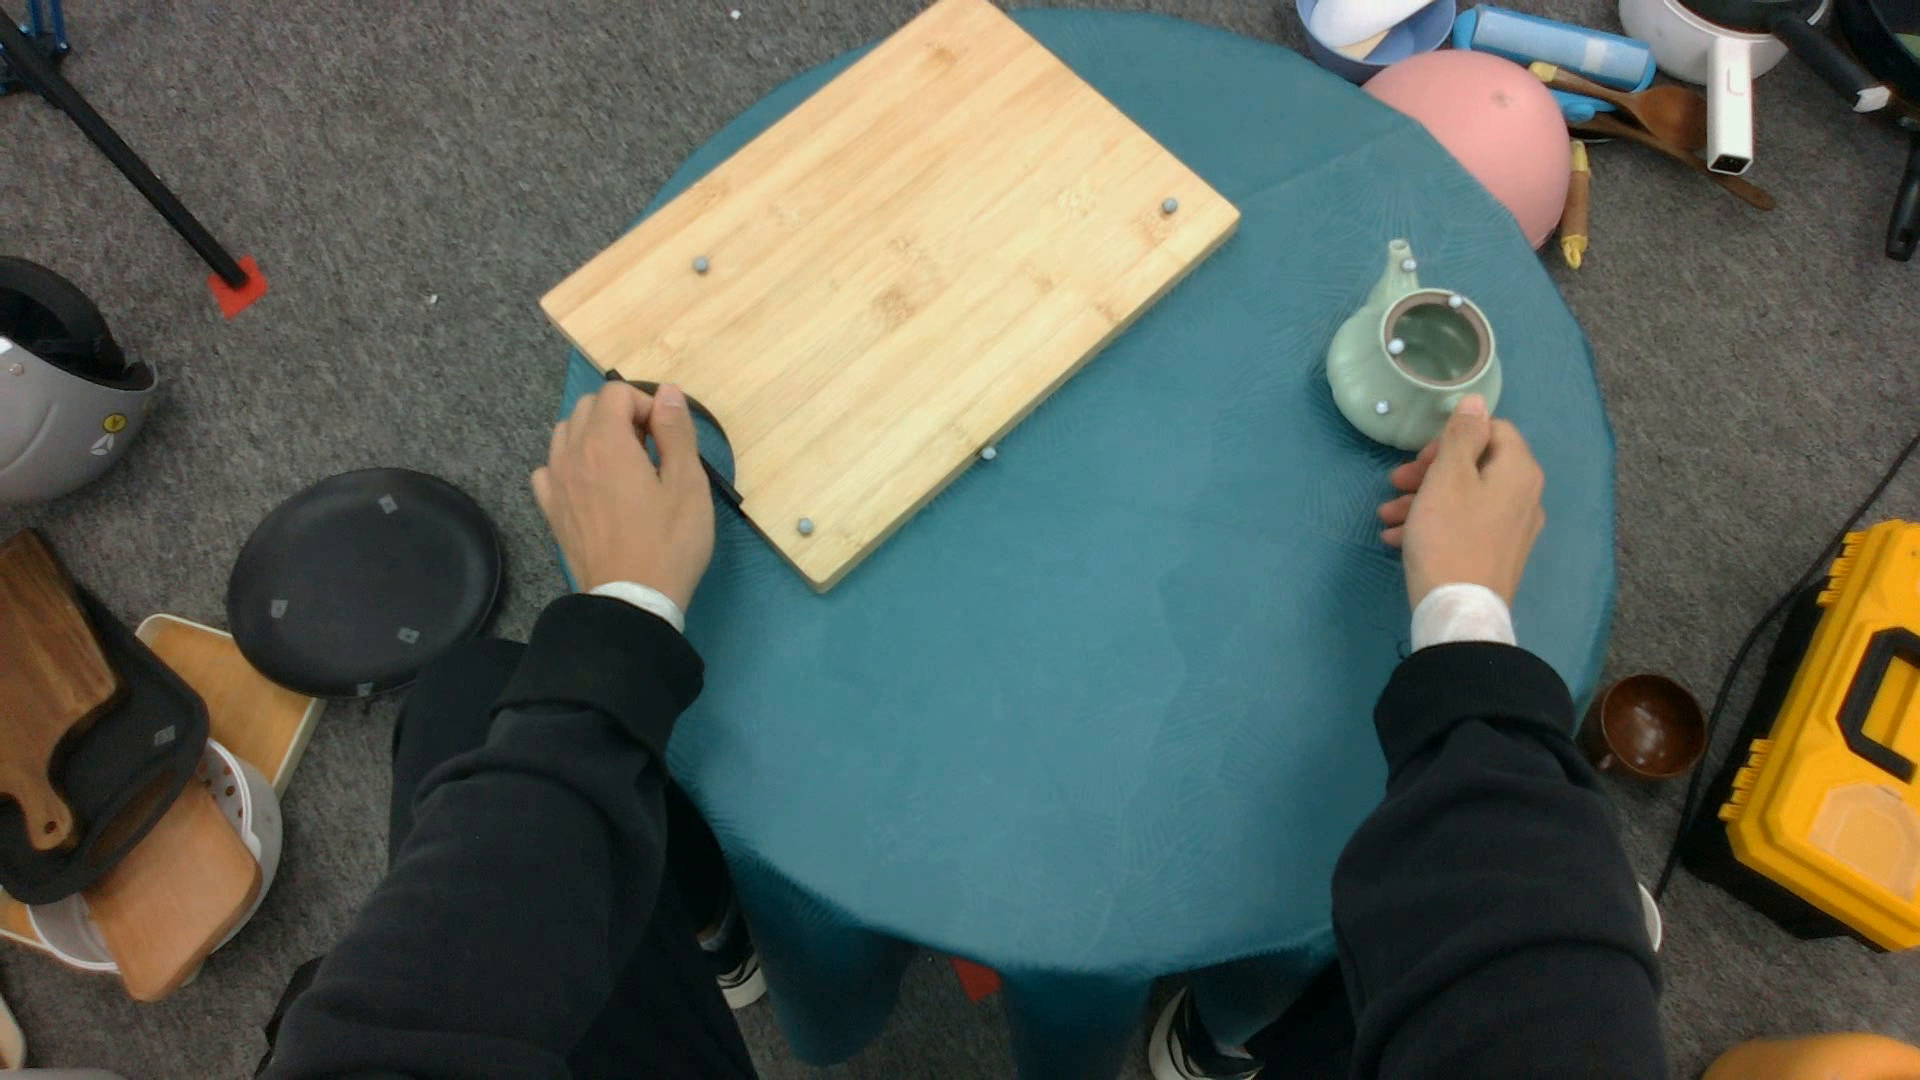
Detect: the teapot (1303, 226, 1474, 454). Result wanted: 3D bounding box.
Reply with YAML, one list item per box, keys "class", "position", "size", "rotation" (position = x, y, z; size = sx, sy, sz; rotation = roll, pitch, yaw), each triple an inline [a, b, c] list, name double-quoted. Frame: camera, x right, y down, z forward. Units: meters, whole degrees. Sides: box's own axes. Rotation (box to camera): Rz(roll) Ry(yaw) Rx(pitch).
- class: "teapot"
  position: [0.246, -0.105, 0.772]
  size: [0.096, 0.061, 0.137]
  rotation: [-15, 69, -9]

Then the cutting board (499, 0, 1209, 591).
- class: "cutting board"
  position: [-0.055, -0.166, 0.809]
  size: [0.251, 0.023, 0.349]
  rotation: [42, 73, 14]
